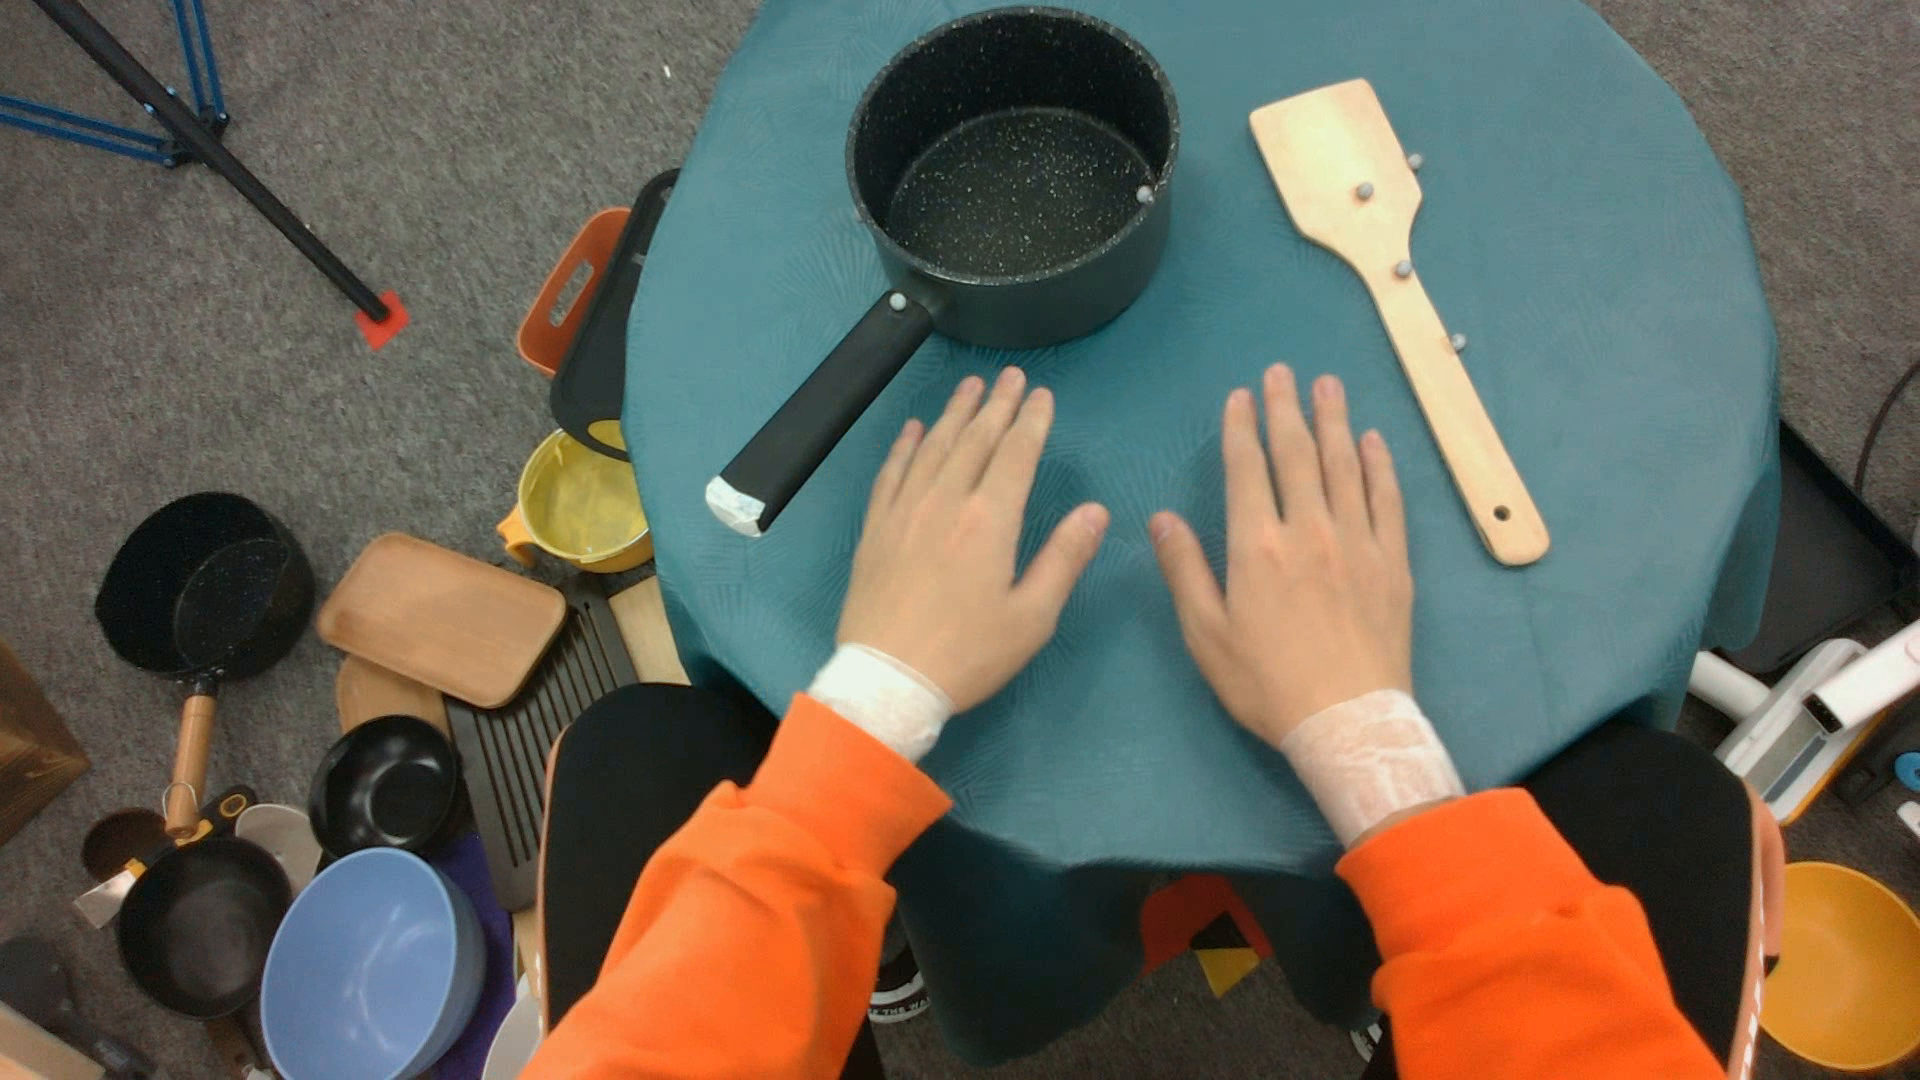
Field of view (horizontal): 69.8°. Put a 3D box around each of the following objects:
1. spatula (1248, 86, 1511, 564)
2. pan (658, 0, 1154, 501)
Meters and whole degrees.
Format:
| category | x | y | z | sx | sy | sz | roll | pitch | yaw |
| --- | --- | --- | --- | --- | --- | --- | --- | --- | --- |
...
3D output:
| category | x | y | z | sx | sy | sz | roll | pitch | yaw |
| --- | --- | --- | --- | --- | --- | --- | --- | --- | --- |
| spatula | 0.223 | -0.119 | 0.712 | 0.072 | 0.010 | 0.294 | -12 | 65 | -1 |
| pan | -0.029 | -0.139 | 0.708 | 0.172 | 0.086 | 0.329 | 31 | 73 | 19 |
